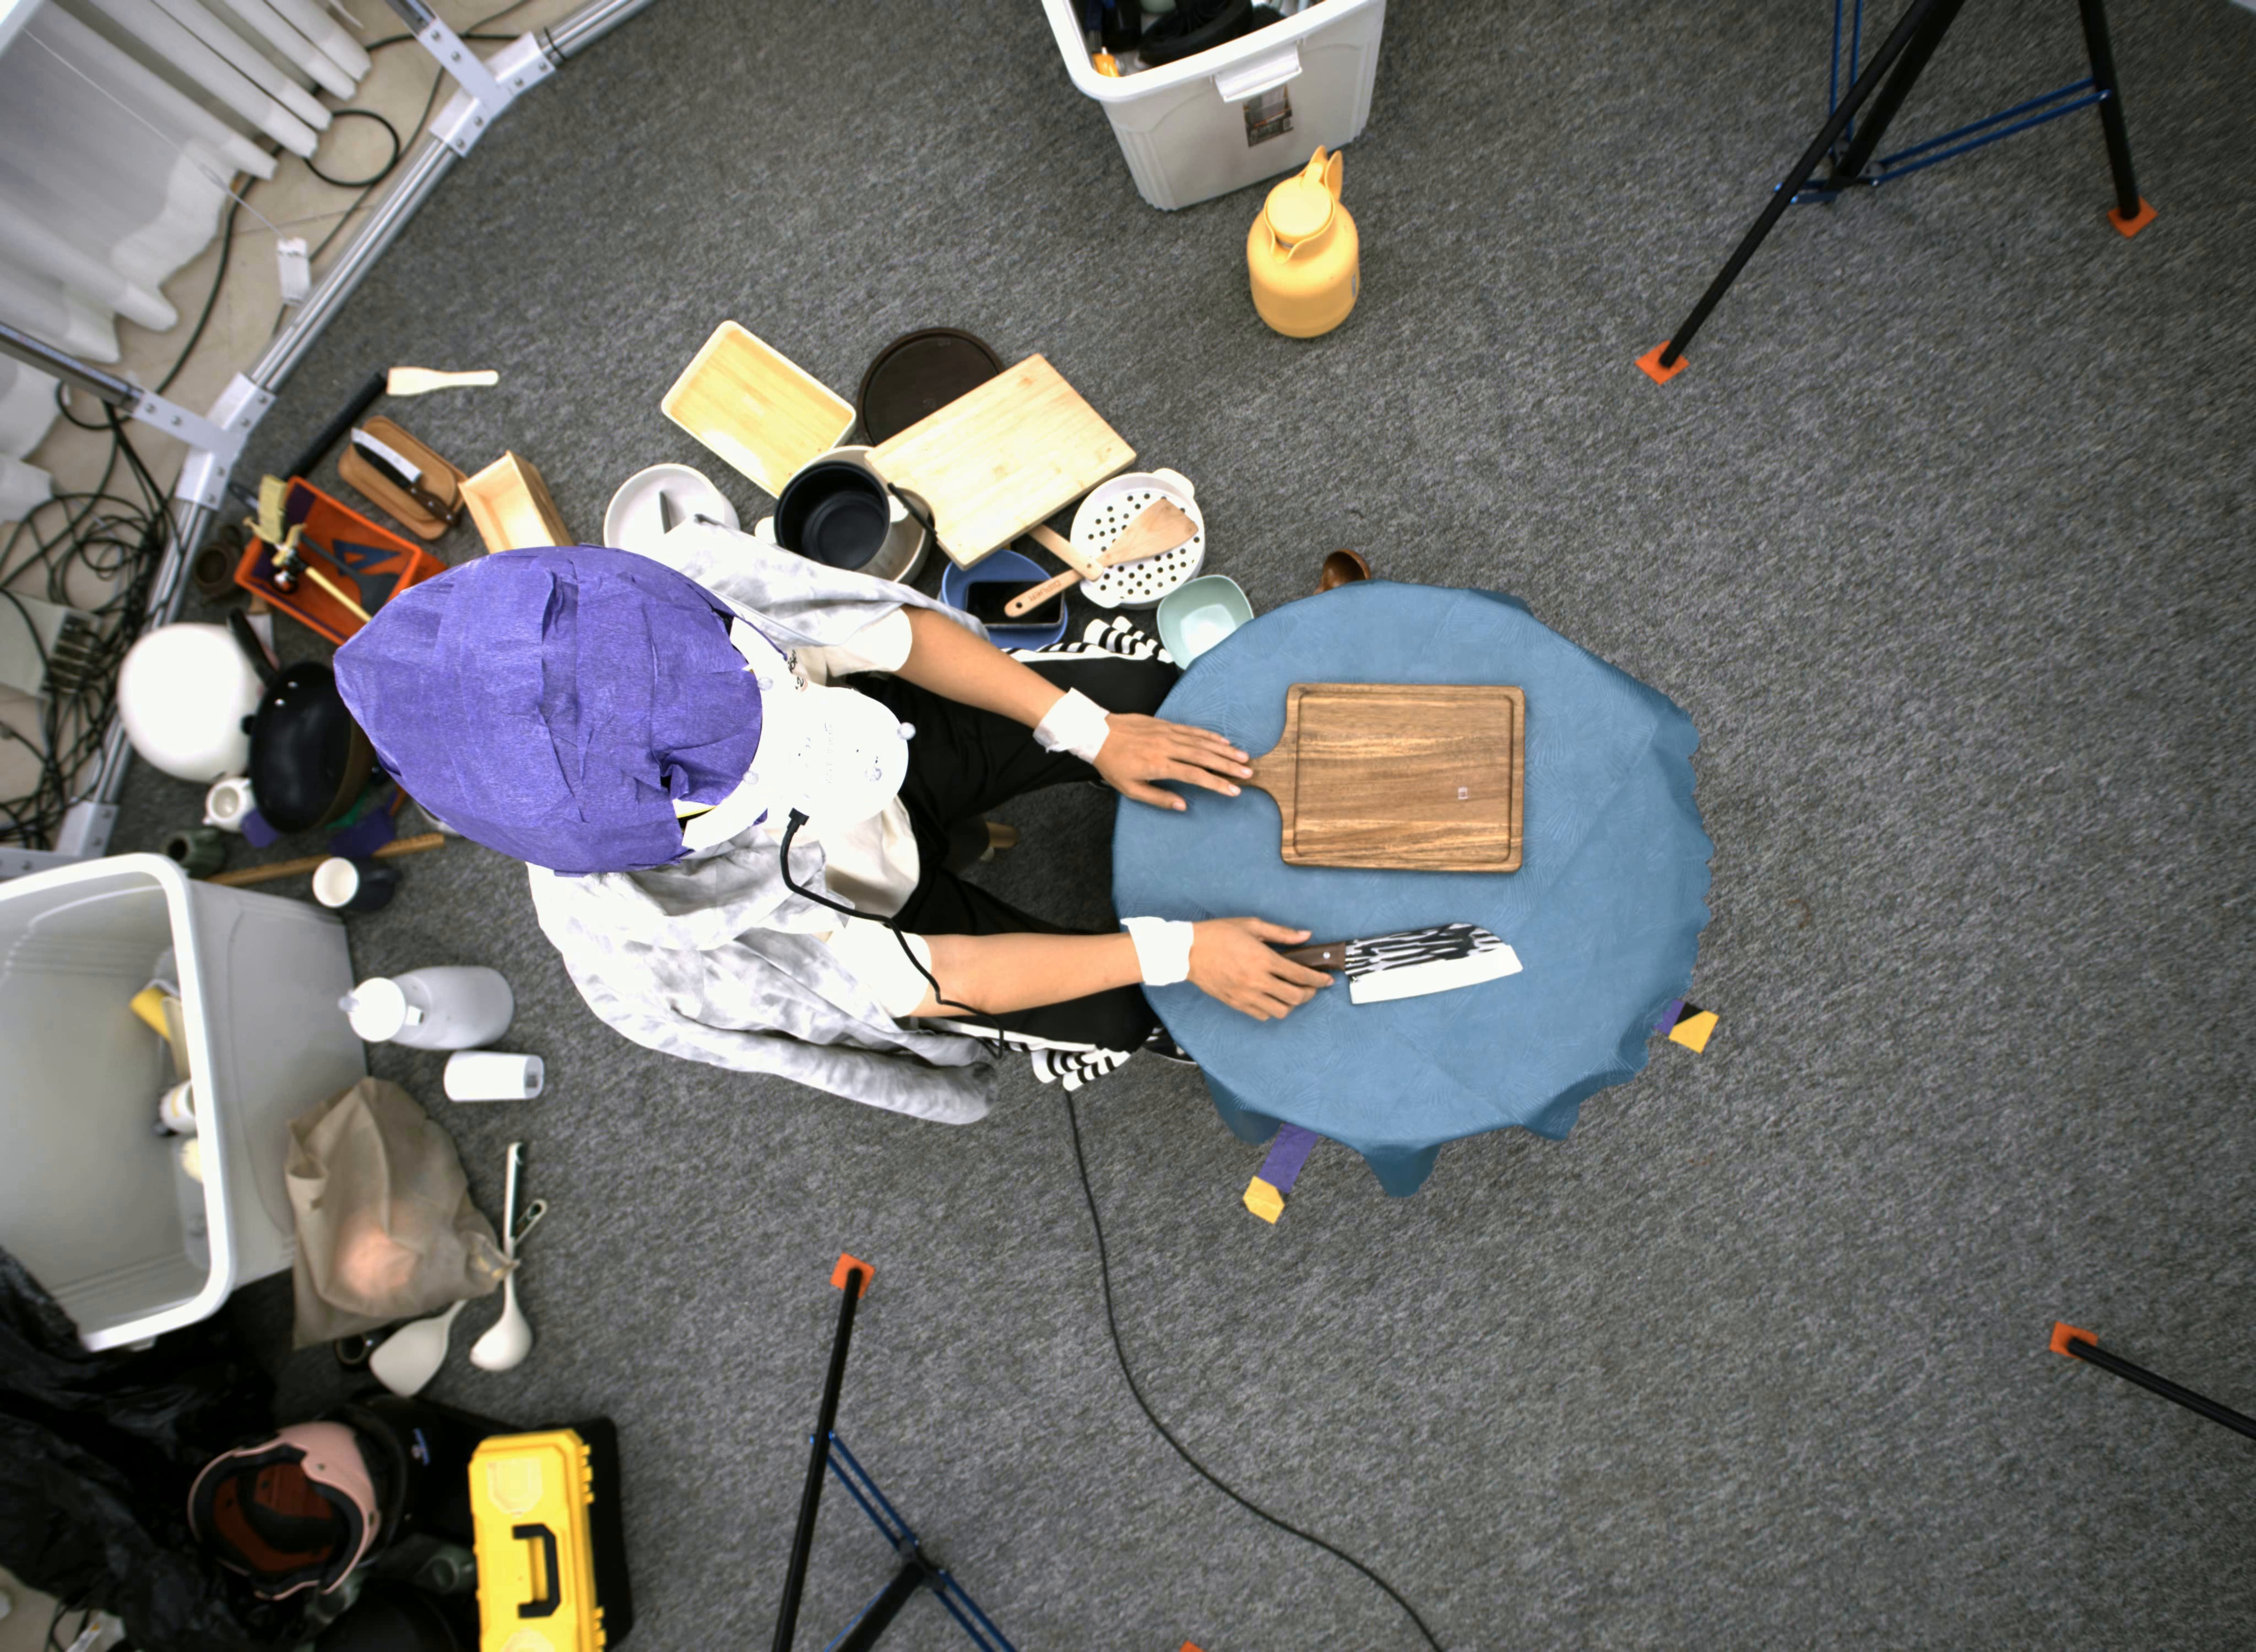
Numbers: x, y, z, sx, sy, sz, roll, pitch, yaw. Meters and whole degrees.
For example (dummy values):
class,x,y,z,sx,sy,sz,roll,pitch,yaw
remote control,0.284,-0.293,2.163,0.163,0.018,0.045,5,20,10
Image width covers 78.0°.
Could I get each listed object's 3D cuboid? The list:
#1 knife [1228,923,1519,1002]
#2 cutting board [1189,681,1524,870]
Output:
class,x,y,z,sx,sy,sz,roll,pitch,yaw
knife,0.256,0.146,1.447,0.301,0.024,0.068,-8,87,7
cutting board,0.240,-0.056,1.463,0.353,0.023,0.200,1,89,12
